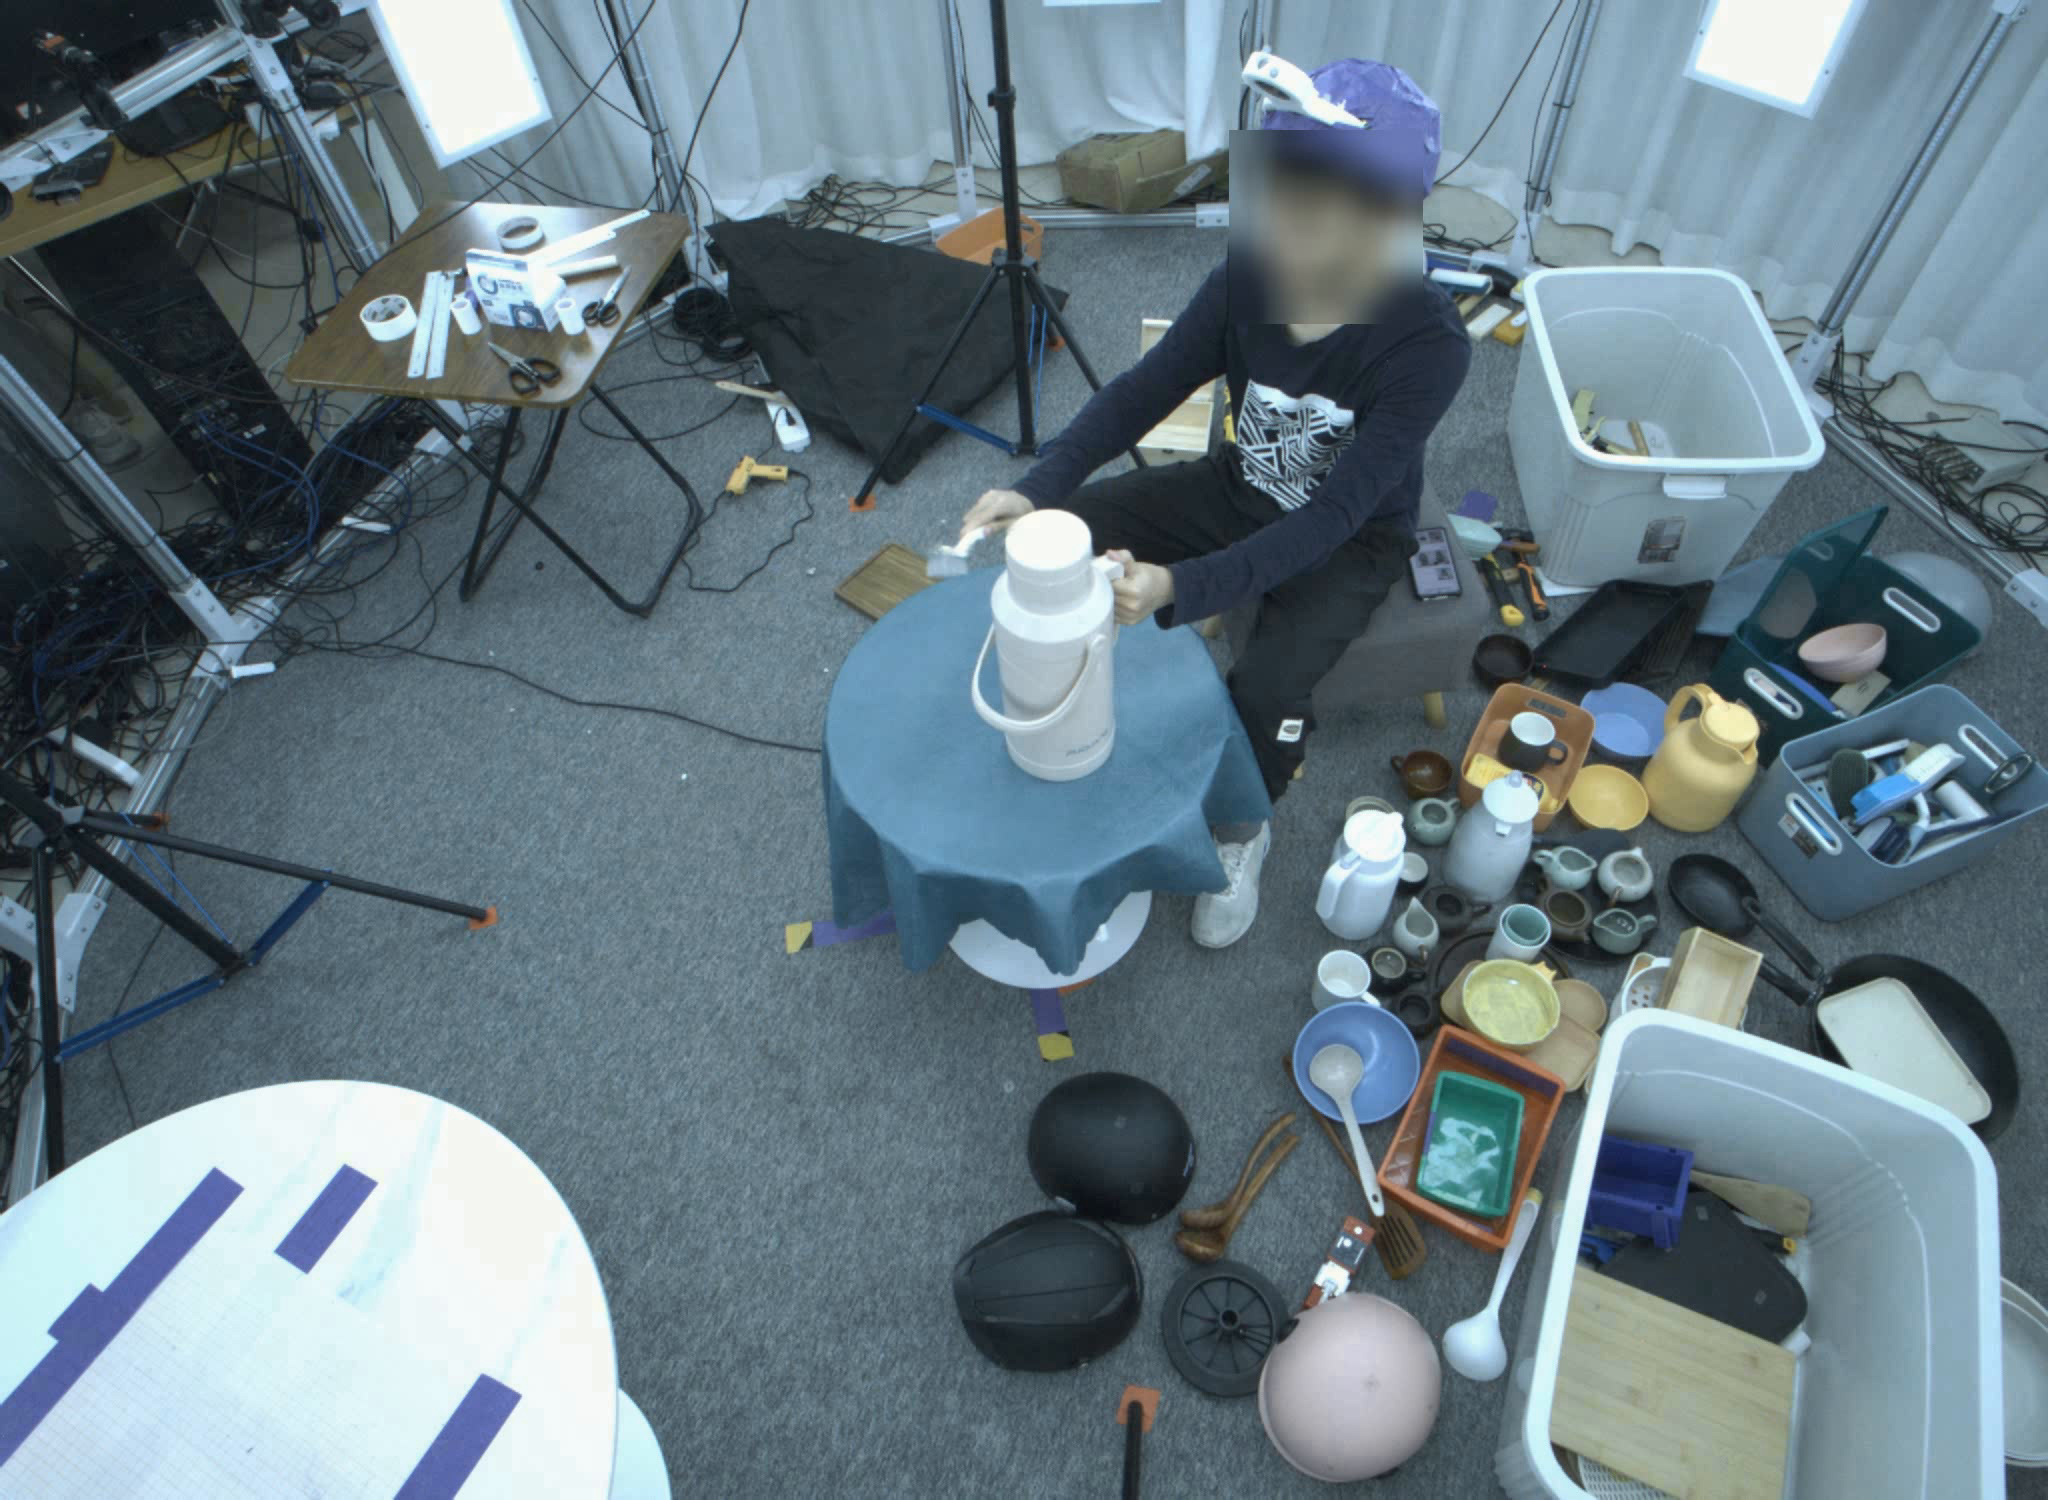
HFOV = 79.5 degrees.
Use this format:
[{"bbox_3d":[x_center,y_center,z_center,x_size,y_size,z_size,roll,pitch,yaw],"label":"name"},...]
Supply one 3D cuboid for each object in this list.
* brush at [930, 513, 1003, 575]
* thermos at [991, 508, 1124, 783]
[{"bbox_3d":[-0.071,-0.286,1.706,0.034,0.050,0.244,-14,16,23],"label":"brush"},{"bbox_3d":[0.053,-0.141,1.633,0.208,0.411,0.172,-39,59,-22],"label":"thermos"}]
